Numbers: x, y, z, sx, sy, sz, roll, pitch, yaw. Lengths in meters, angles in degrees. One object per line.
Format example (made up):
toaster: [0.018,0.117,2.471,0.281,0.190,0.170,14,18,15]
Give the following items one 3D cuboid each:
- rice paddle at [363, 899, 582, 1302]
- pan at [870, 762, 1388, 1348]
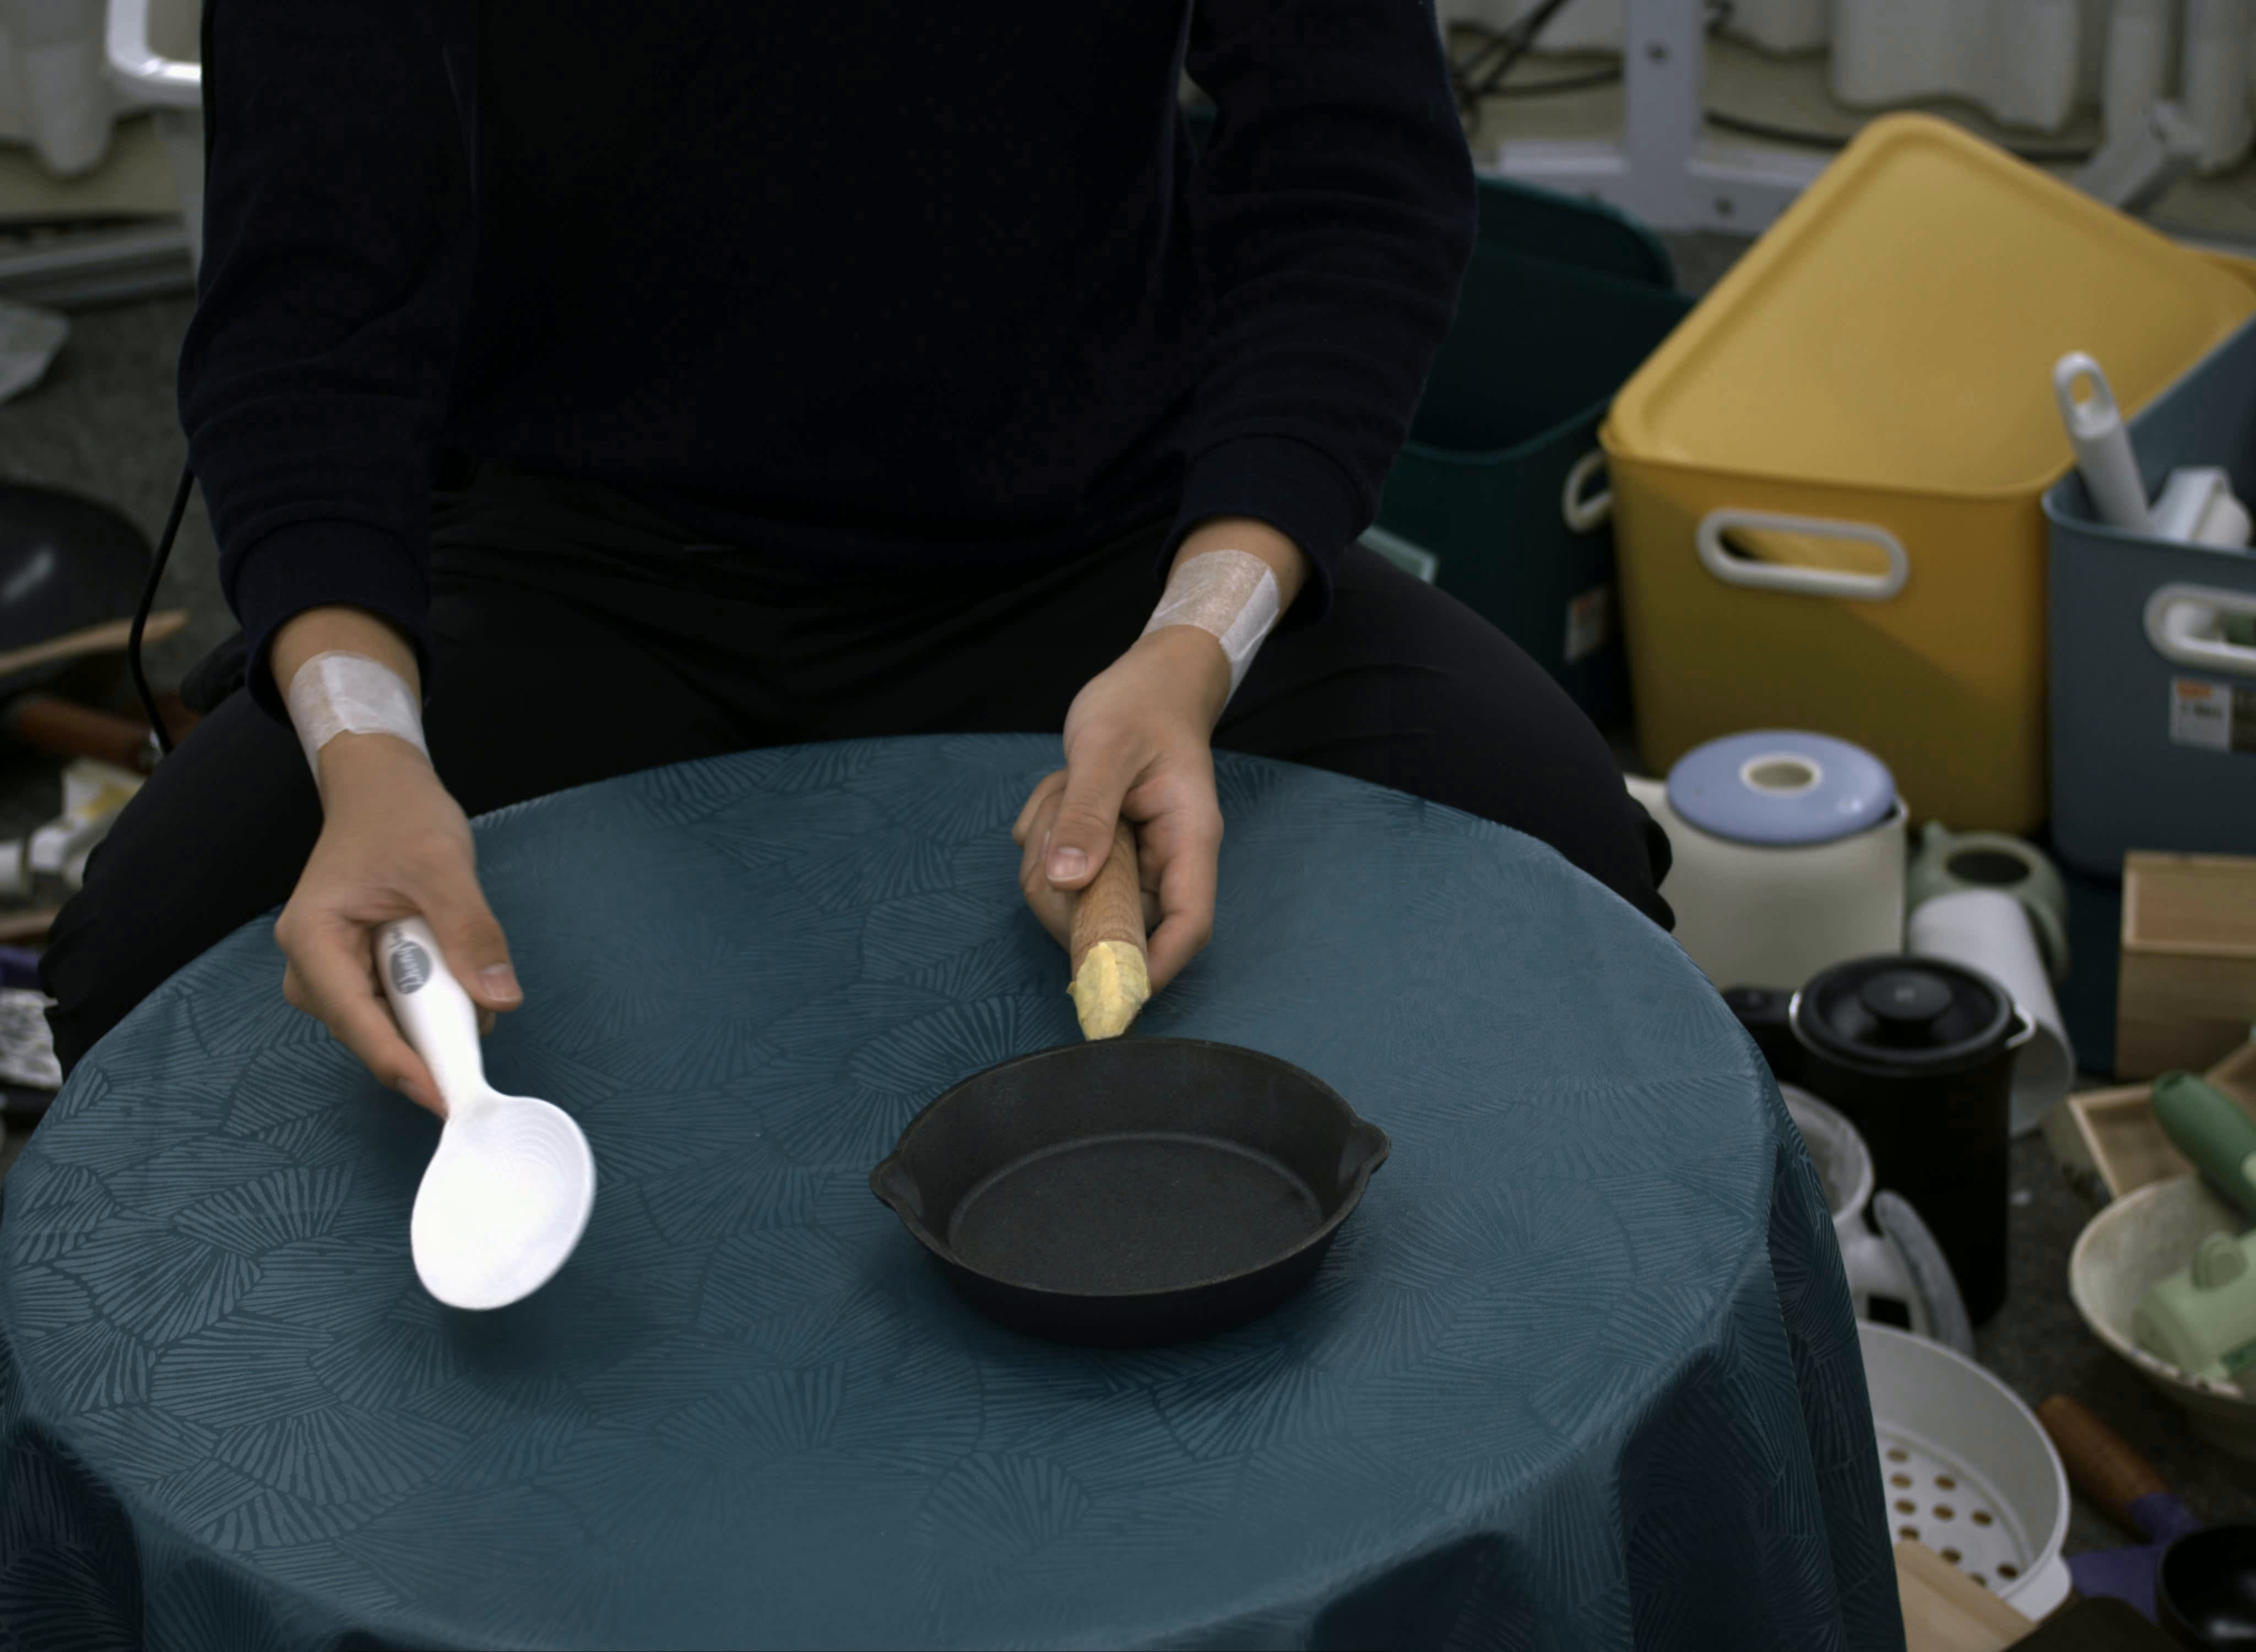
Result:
rice paddle: [-0.218,0.089,1.841,0.068,0.029,0.207,-40,34,7]
pan: [-0.001,0.074,1.898,0.168,0.049,0.329,-3,29,0]
